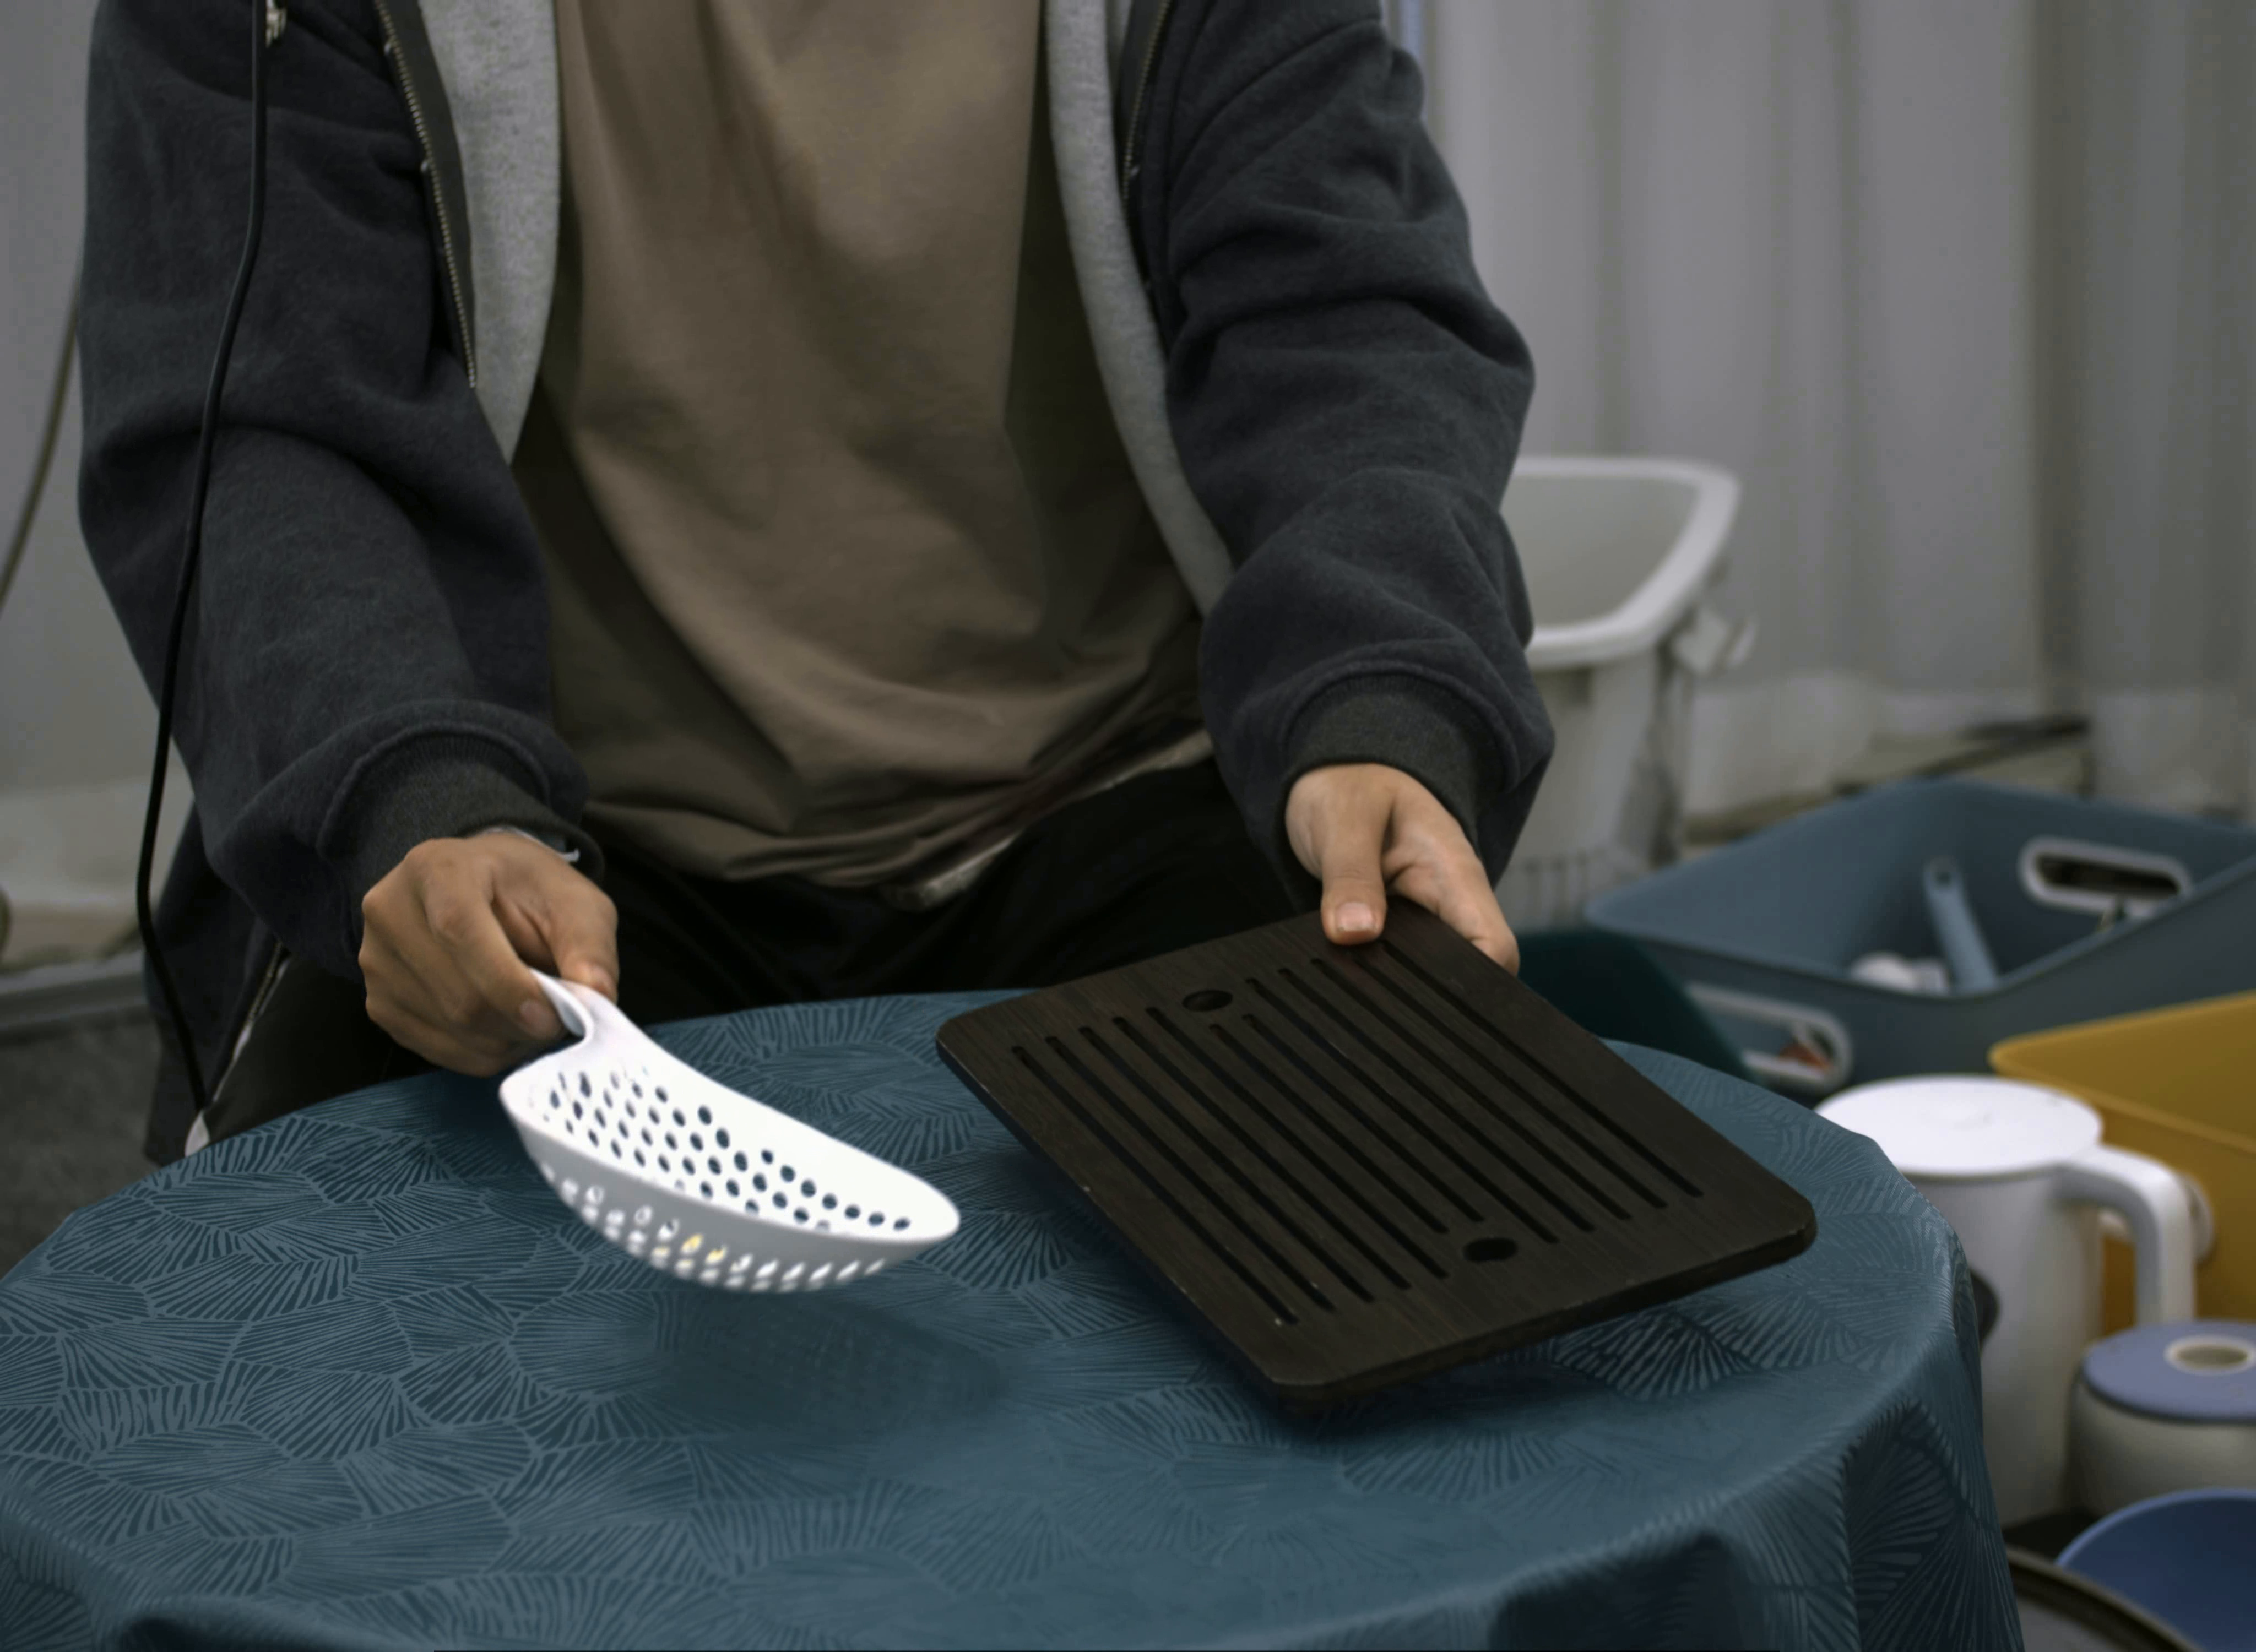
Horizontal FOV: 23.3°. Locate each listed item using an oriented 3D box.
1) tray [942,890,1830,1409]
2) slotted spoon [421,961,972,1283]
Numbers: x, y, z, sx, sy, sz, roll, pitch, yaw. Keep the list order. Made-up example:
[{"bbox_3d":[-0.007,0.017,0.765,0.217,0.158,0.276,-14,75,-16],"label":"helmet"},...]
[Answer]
[{"bbox_3d":[0.070,0.093,1.649,0.169,0.018,0.309,-15,22,-17],"label":"tray"},{"bbox_3d":[-0.155,0.077,1.664,0.136,0.050,0.351,13,11,-24],"label":"slotted spoon"}]
